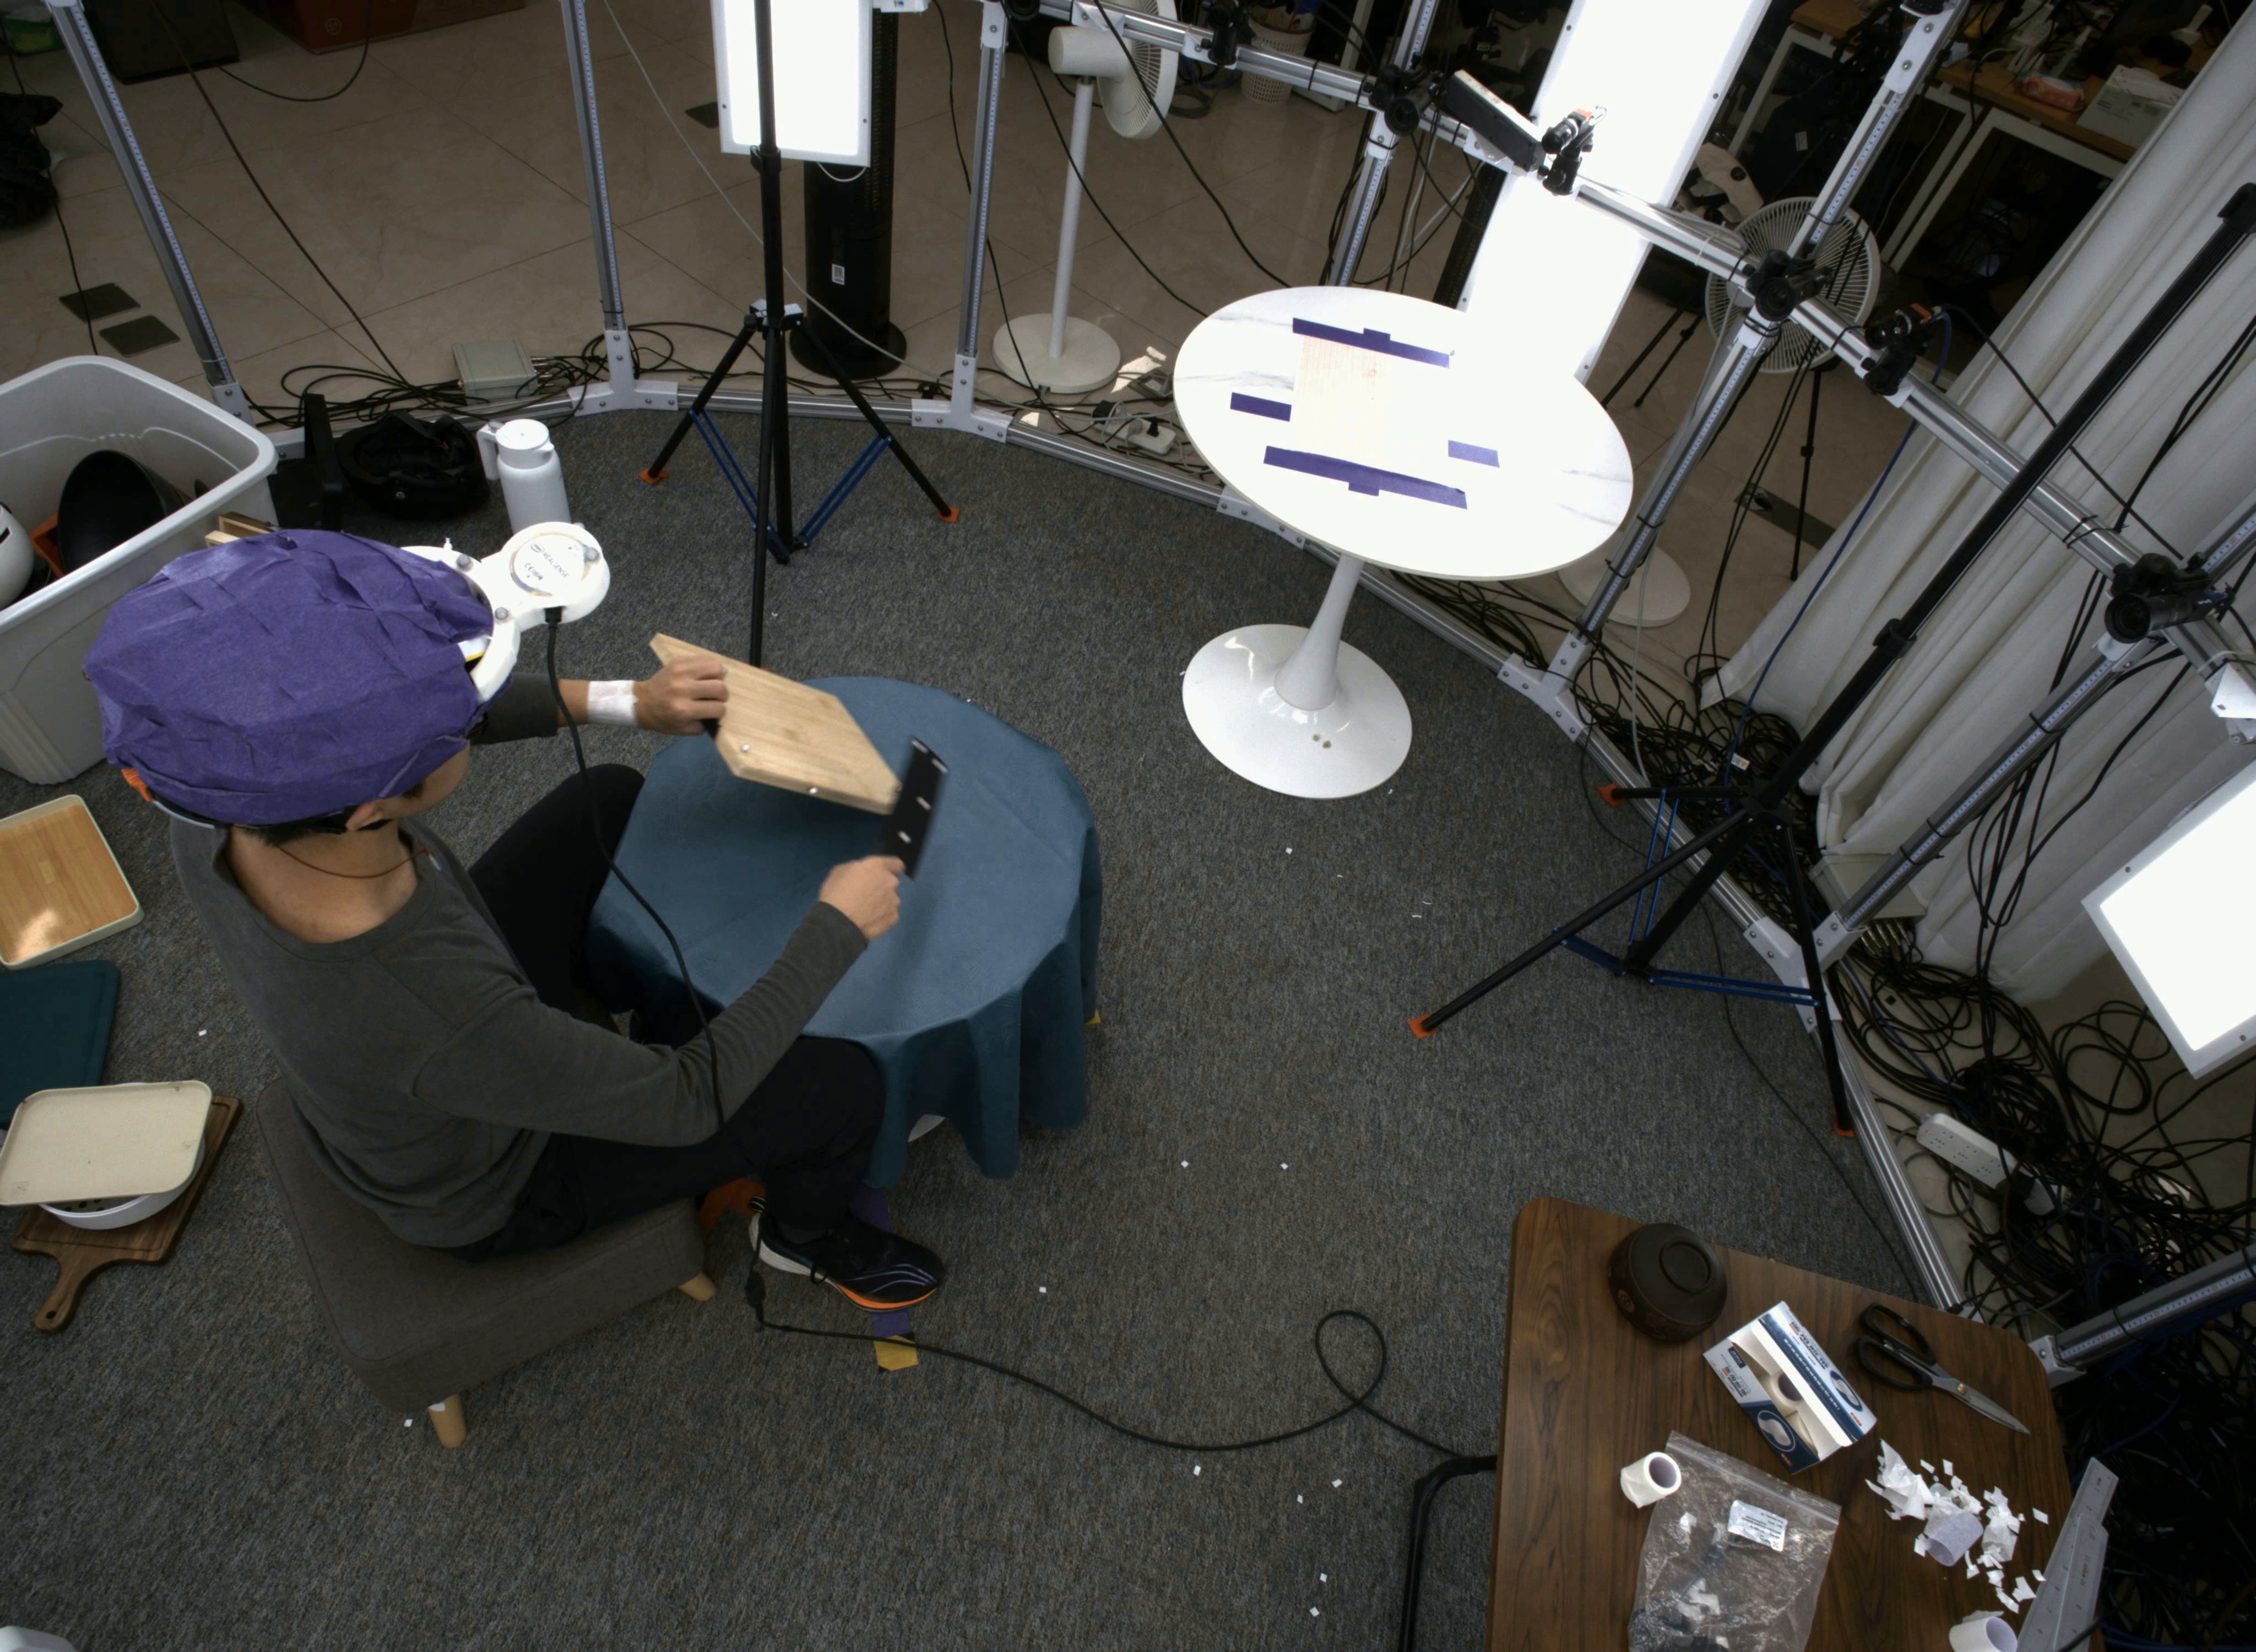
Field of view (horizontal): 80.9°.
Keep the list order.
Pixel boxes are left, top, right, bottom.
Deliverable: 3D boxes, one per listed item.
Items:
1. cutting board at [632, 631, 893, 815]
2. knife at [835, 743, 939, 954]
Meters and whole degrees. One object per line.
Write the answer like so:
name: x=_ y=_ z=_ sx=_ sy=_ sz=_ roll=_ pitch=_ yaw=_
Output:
cutting board: x=-0.453 y=-0.123 z=1.655 sx=0.244 sy=0.023 sz=0.357 roll=49 pitch=14 yaw=23
knife: x=-0.288 y=0.026 z=1.566 sx=0.084 sy=0.020 sz=0.298 roll=49 pitch=40 yaw=-33
